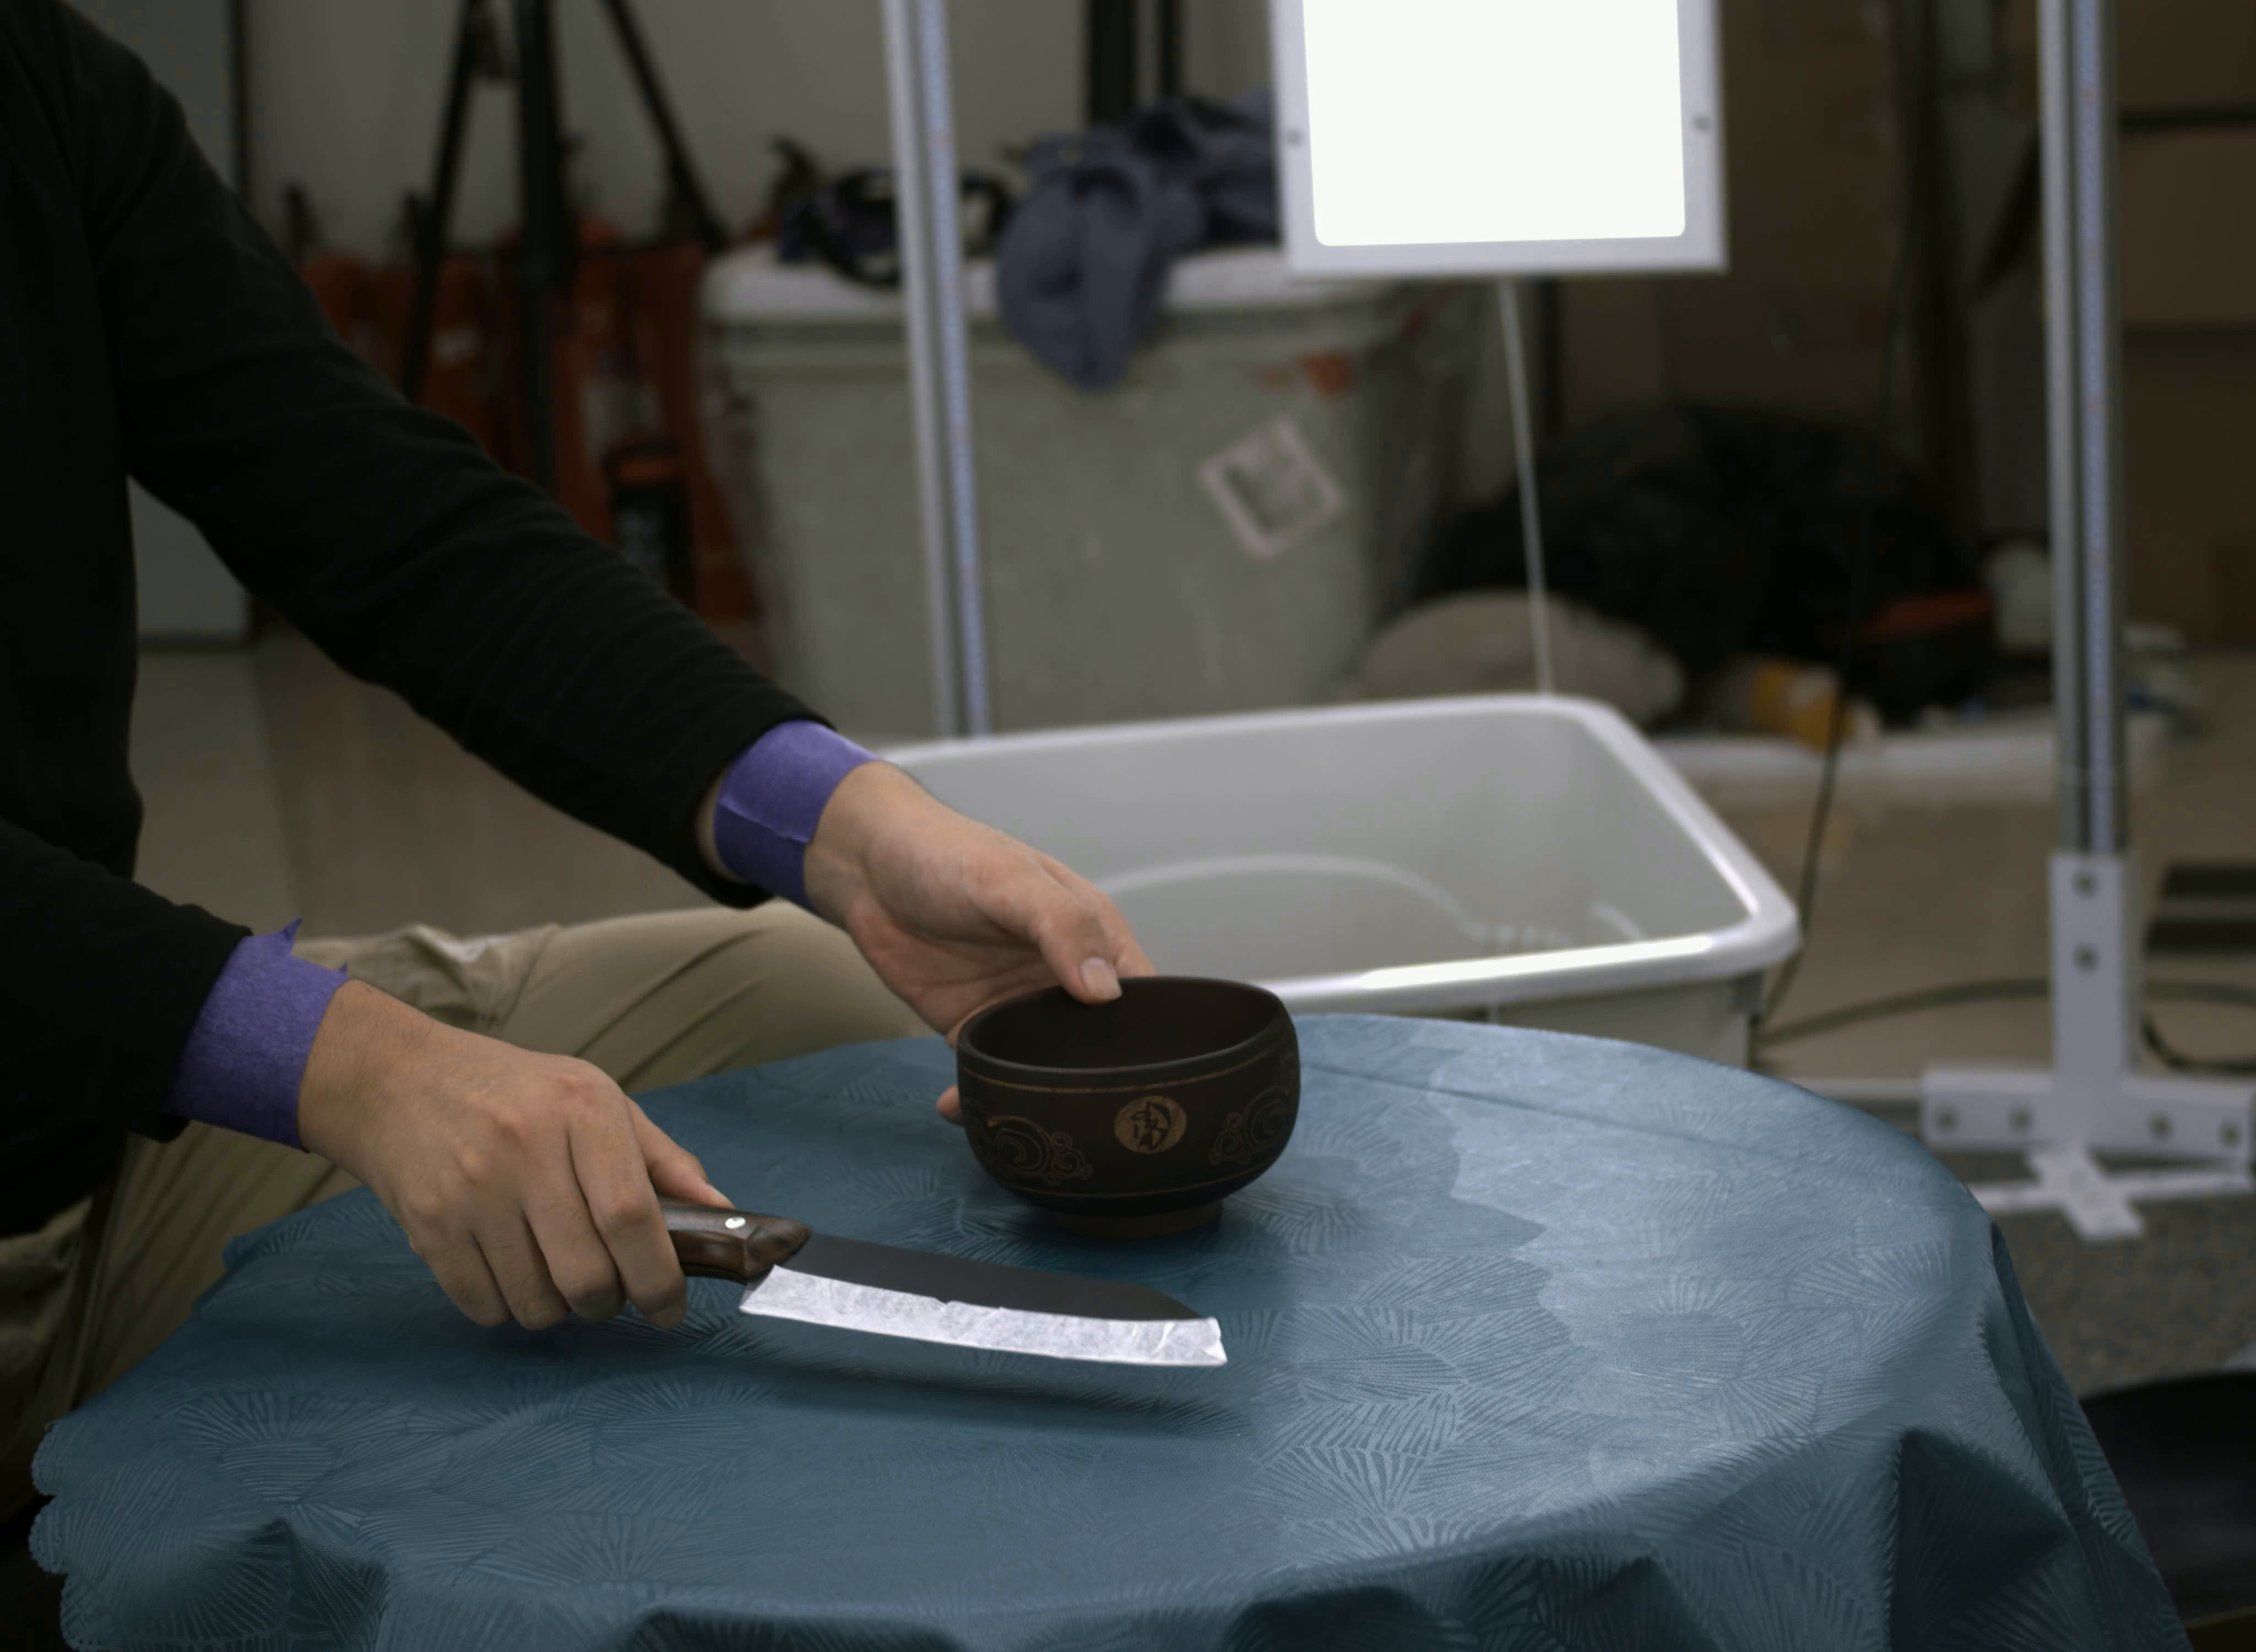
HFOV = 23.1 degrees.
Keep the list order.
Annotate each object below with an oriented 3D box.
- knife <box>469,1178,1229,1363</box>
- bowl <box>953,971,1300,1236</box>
[{"bbox_3d":[-0.092,0.142,1.740,0.294,0.020,0.049,7,36,32],"label":"knife"},{"bbox_3d":[0.001,0.098,1.865,0.118,0.070,0.118,-5,13,0],"label":"bowl"}]
